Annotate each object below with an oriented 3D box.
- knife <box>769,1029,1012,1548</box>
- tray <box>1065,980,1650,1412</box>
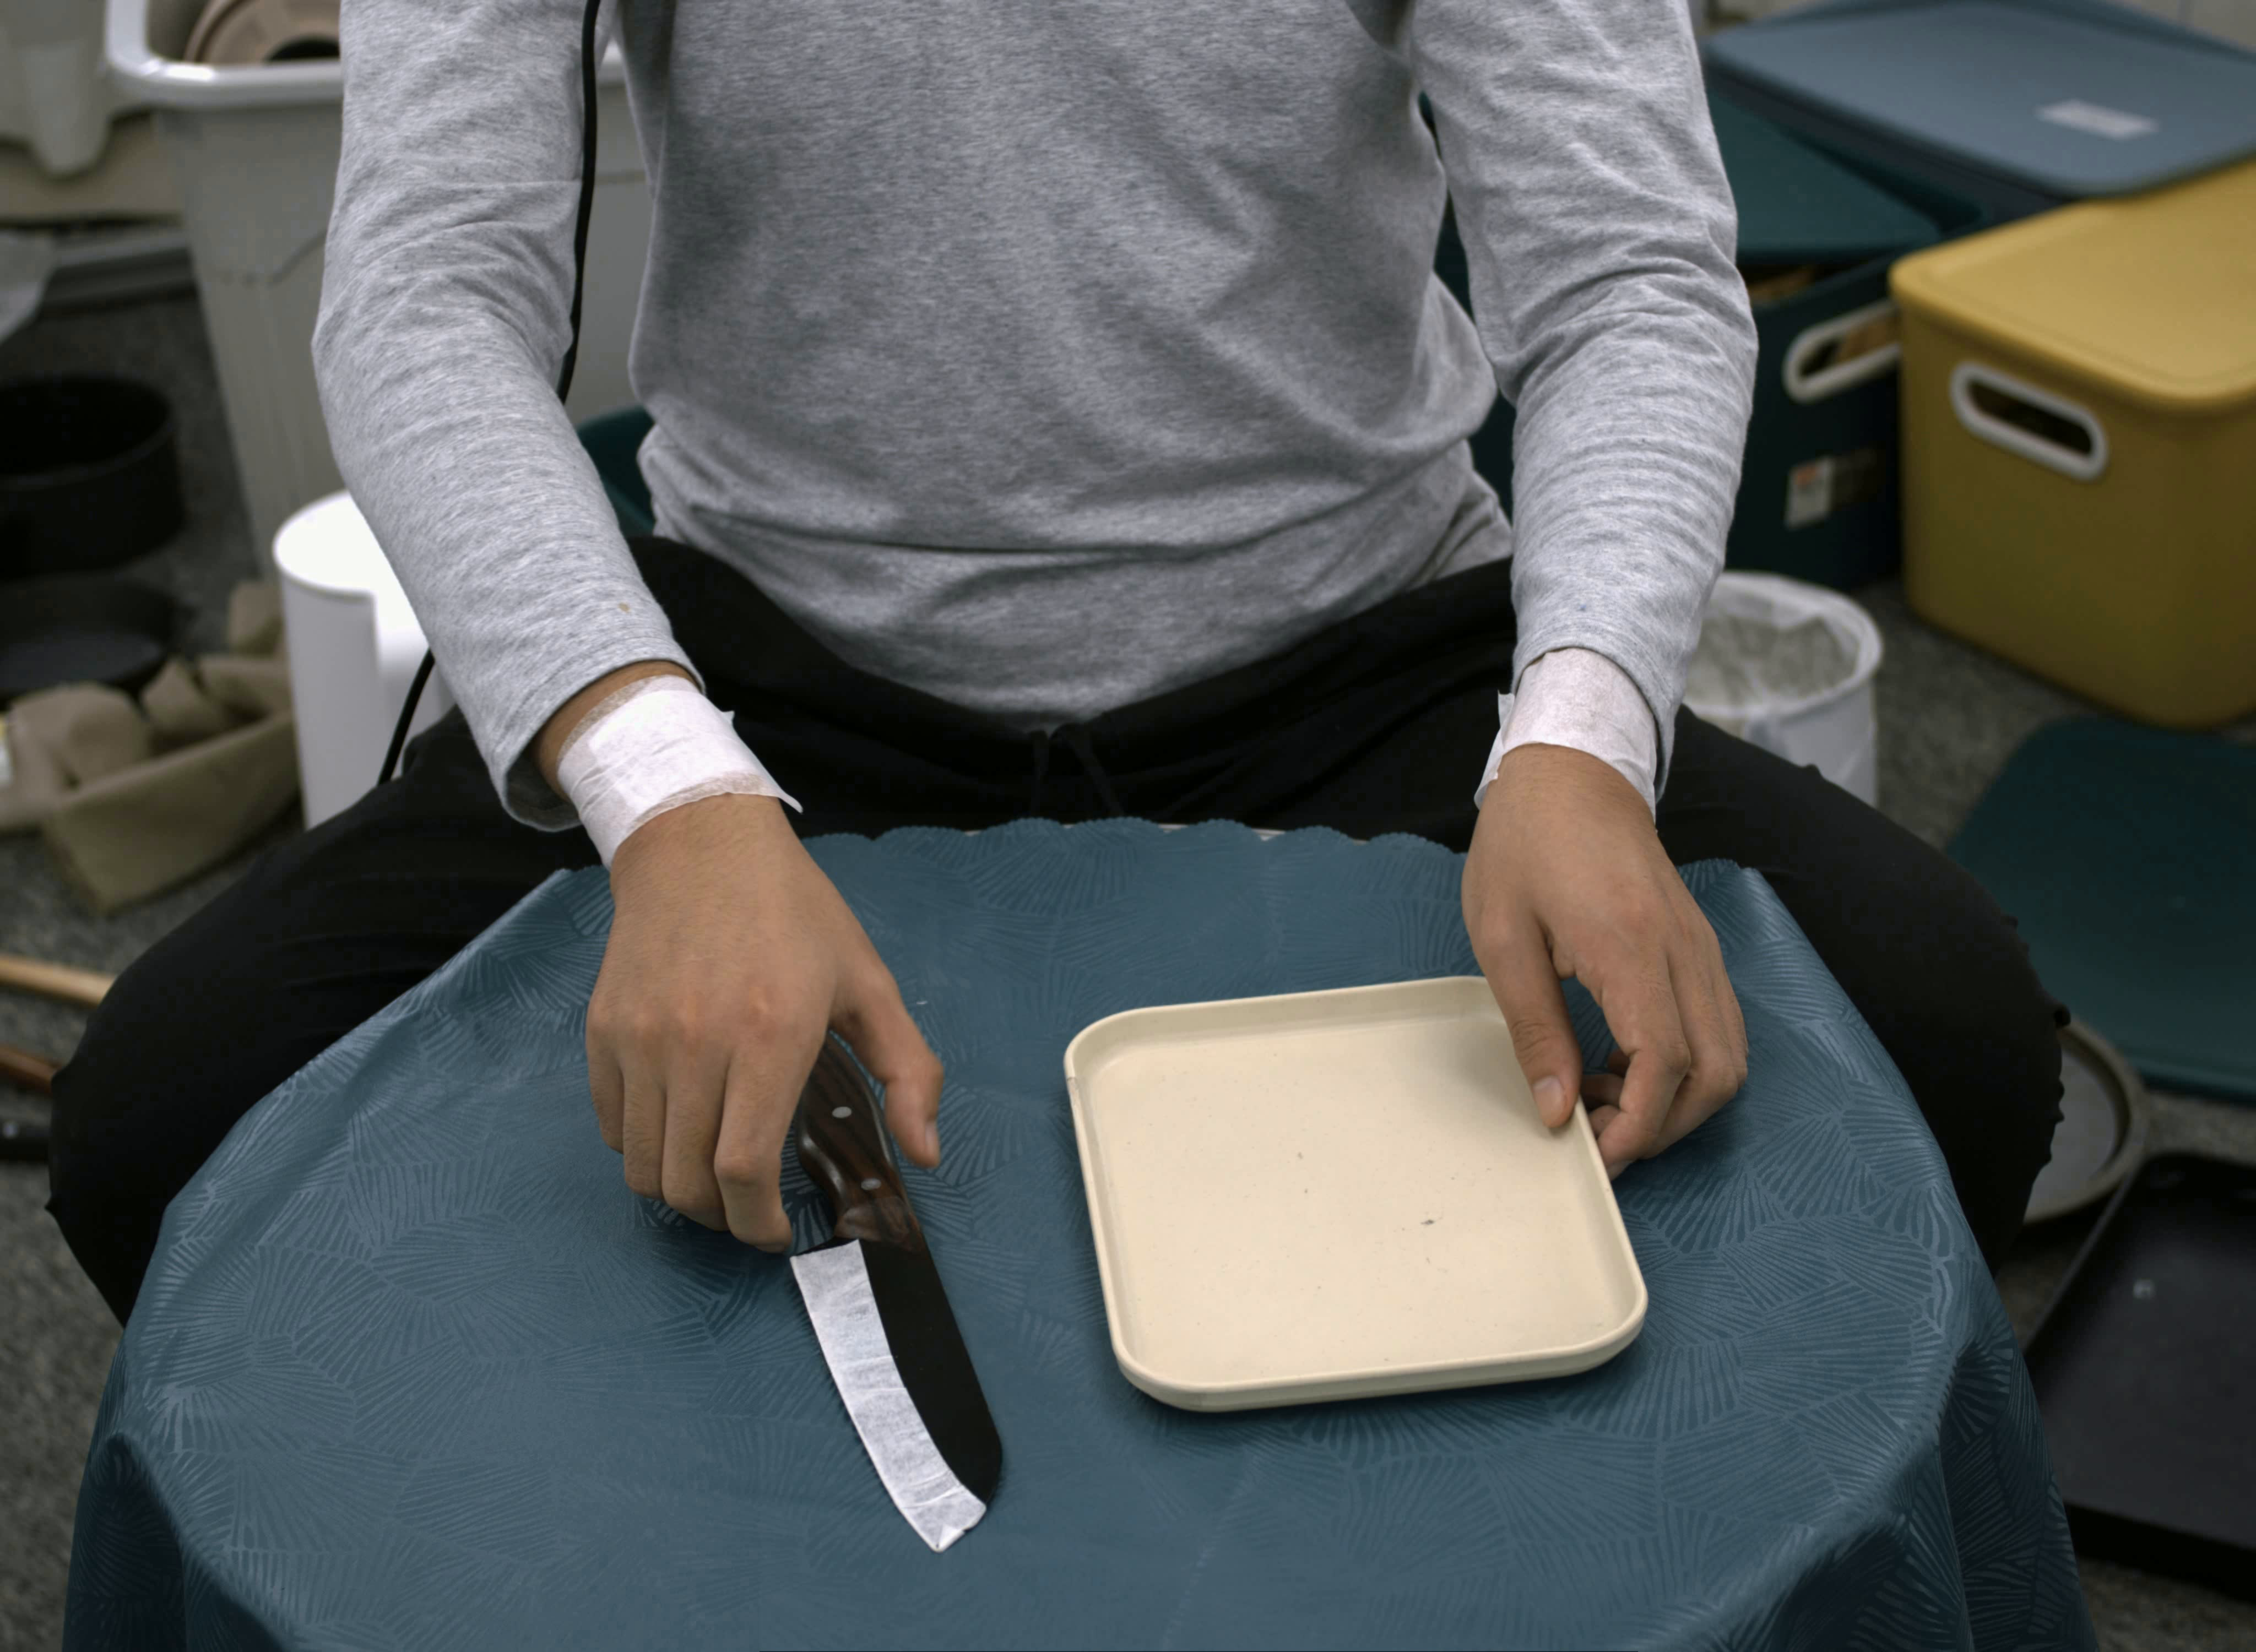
[{"bbox_3d":[-0.081,0.147,1.805,0.050,0.020,0.293,-12,31,-7],"label":"knife"},{"bbox_3d":[0.071,0.120,1.839,0.171,0.017,0.243,-5,27,-4],"label":"tray"}]
